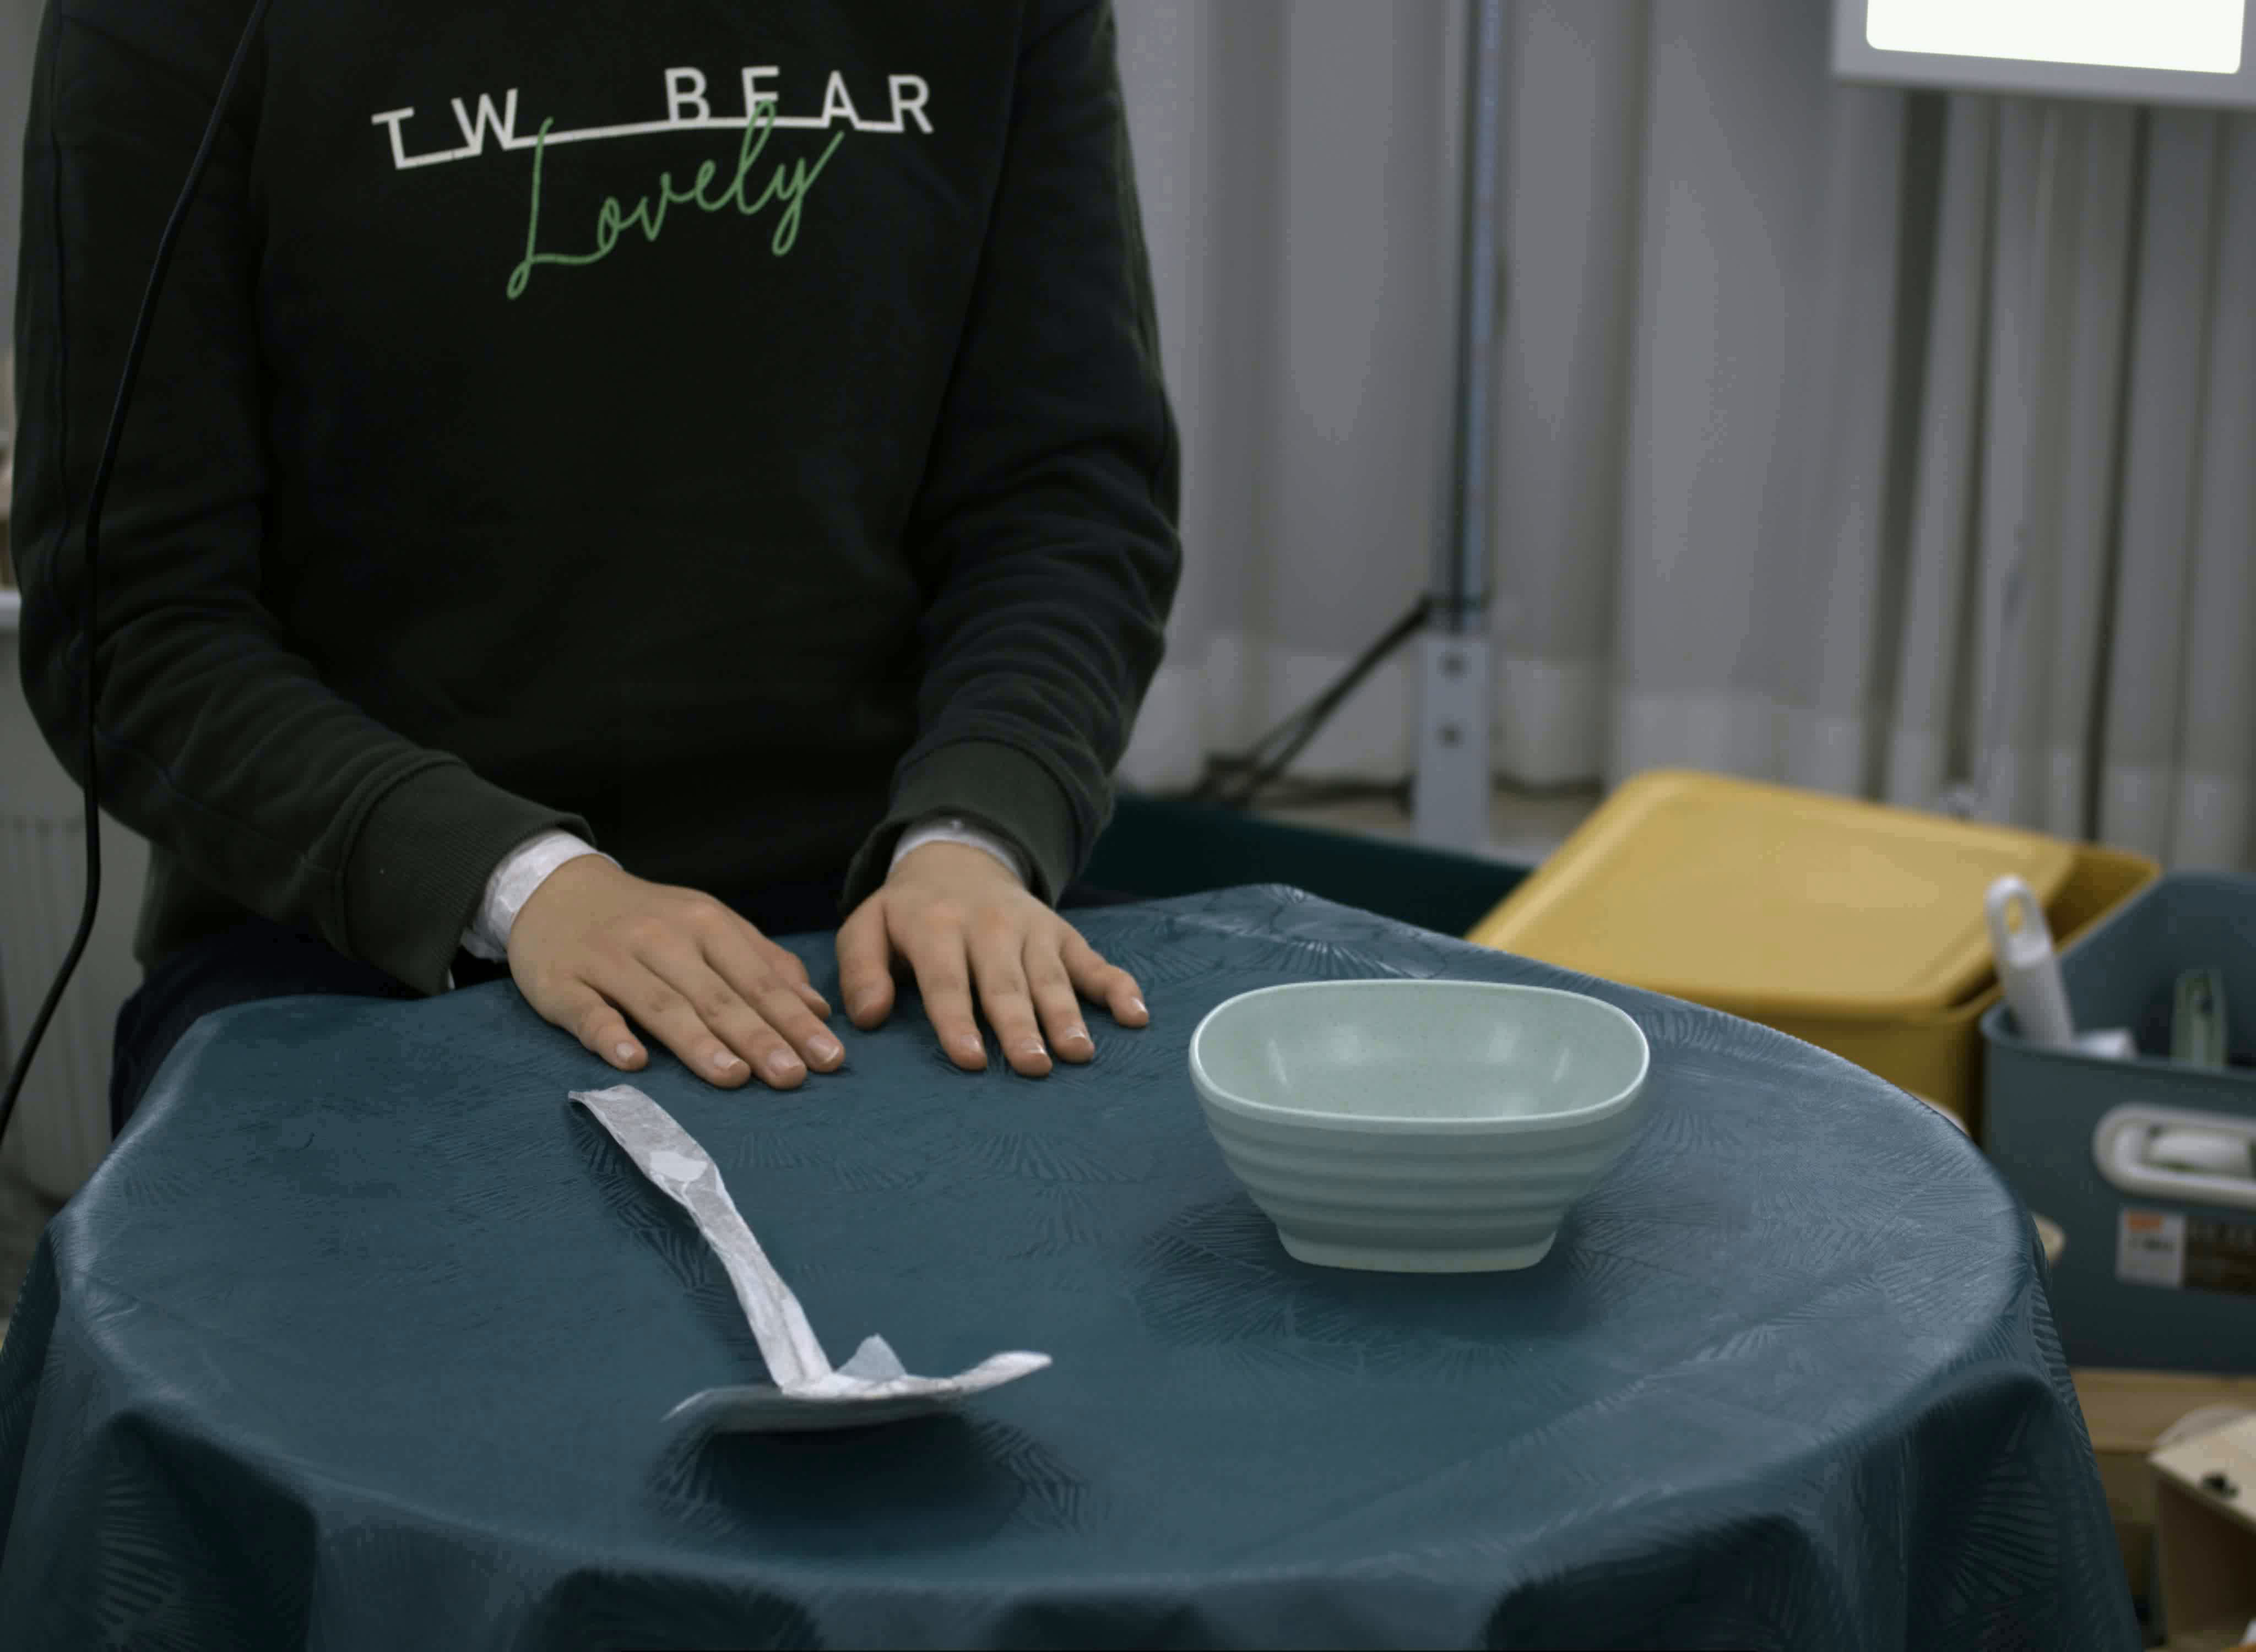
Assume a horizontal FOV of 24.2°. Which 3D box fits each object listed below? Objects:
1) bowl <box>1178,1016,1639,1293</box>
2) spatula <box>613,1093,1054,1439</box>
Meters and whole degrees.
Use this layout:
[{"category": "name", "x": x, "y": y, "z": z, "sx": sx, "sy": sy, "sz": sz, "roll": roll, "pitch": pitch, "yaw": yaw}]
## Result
[{"category": "bowl", "x": 0.084, "y": 0.101, "z": 1.589, "sx": 0.151, "sy": 0.059, "sz": 0.151, "roll": 1, "pitch": 12, "yaw": 0}, {"category": "spatula", "x": -0.111, "y": 0.118, "z": 1.531, "sx": 0.099, "sy": 0.045, "sz": 0.361, "roll": -6, "pitch": 17, "yaw": -16}]
